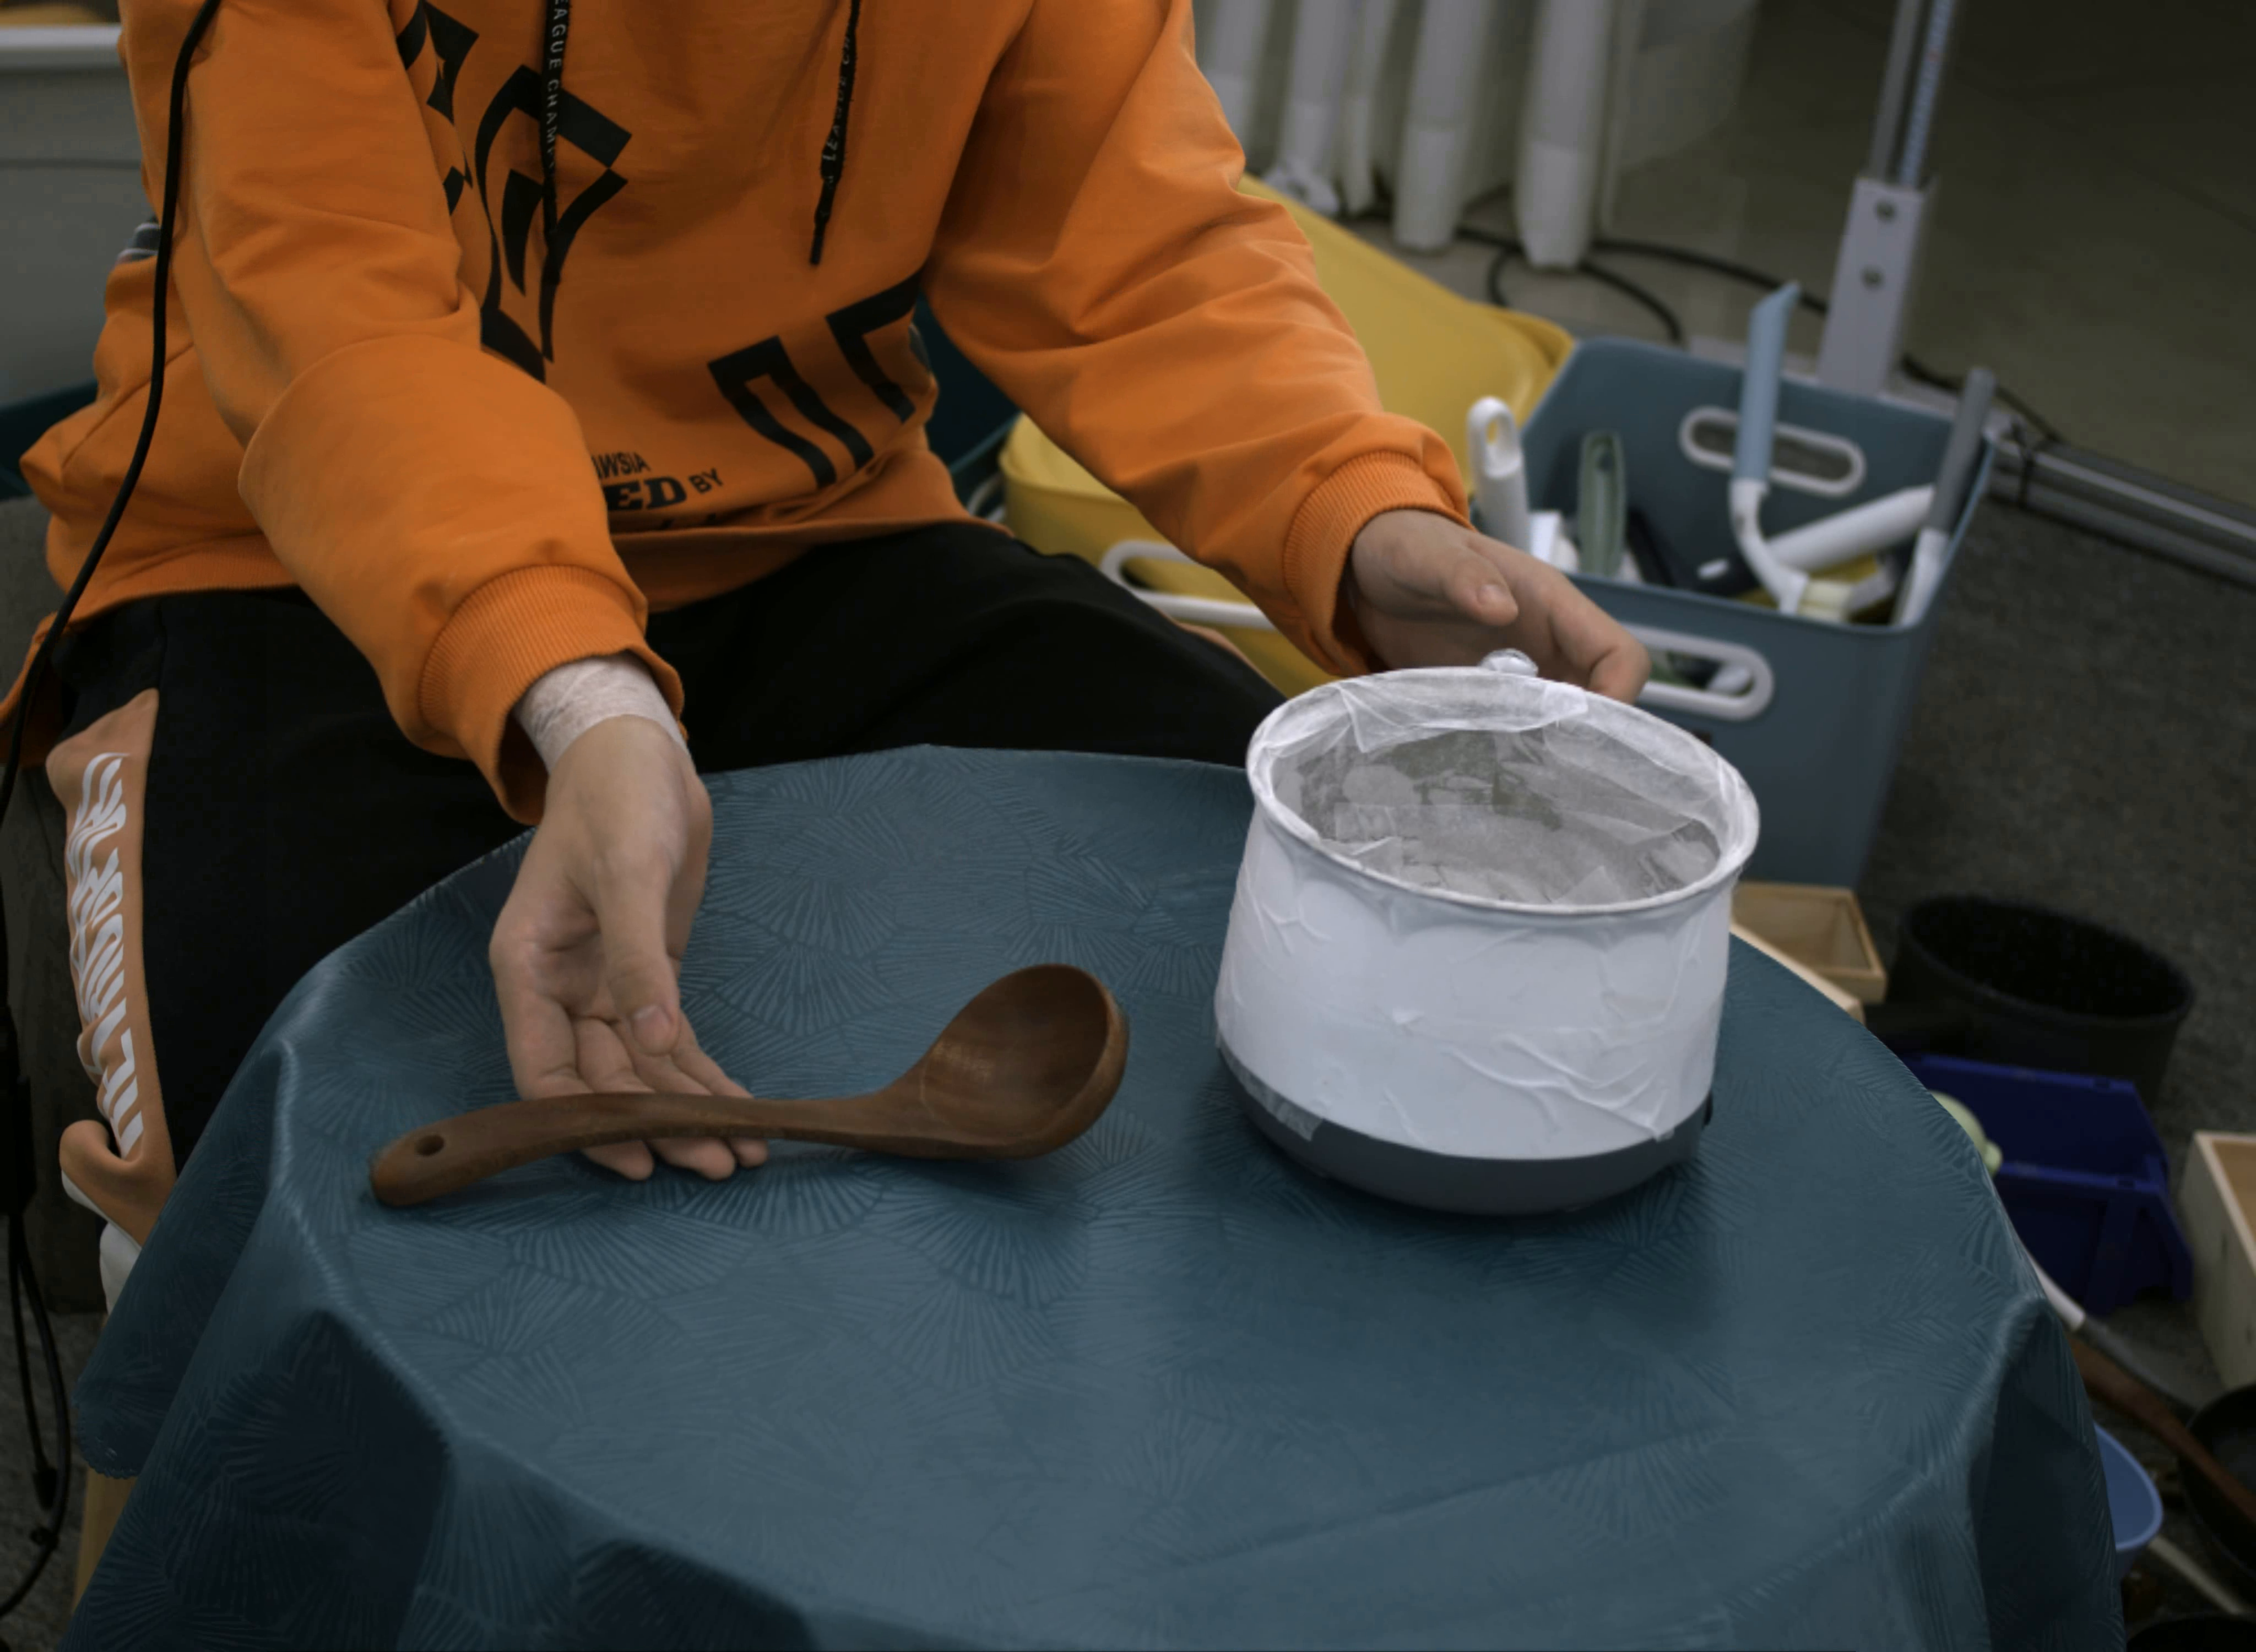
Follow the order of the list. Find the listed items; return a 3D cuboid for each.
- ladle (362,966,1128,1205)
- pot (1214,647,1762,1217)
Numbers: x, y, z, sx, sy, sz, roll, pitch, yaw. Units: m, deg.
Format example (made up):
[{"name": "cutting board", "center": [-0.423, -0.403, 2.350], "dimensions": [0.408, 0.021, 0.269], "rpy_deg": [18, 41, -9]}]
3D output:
[{"name": "ladle", "center": [-0.126, 0.088, 1.775], "dimensions": [0.258, 0.065, 0.077], "rpy_deg": [-3, 30, -19]}, {"name": "pot", "center": [0.123, 0.029, 1.864], "dimensions": [0.178, 0.136, 0.235], "rpy_deg": [7, 27, 0]}]
